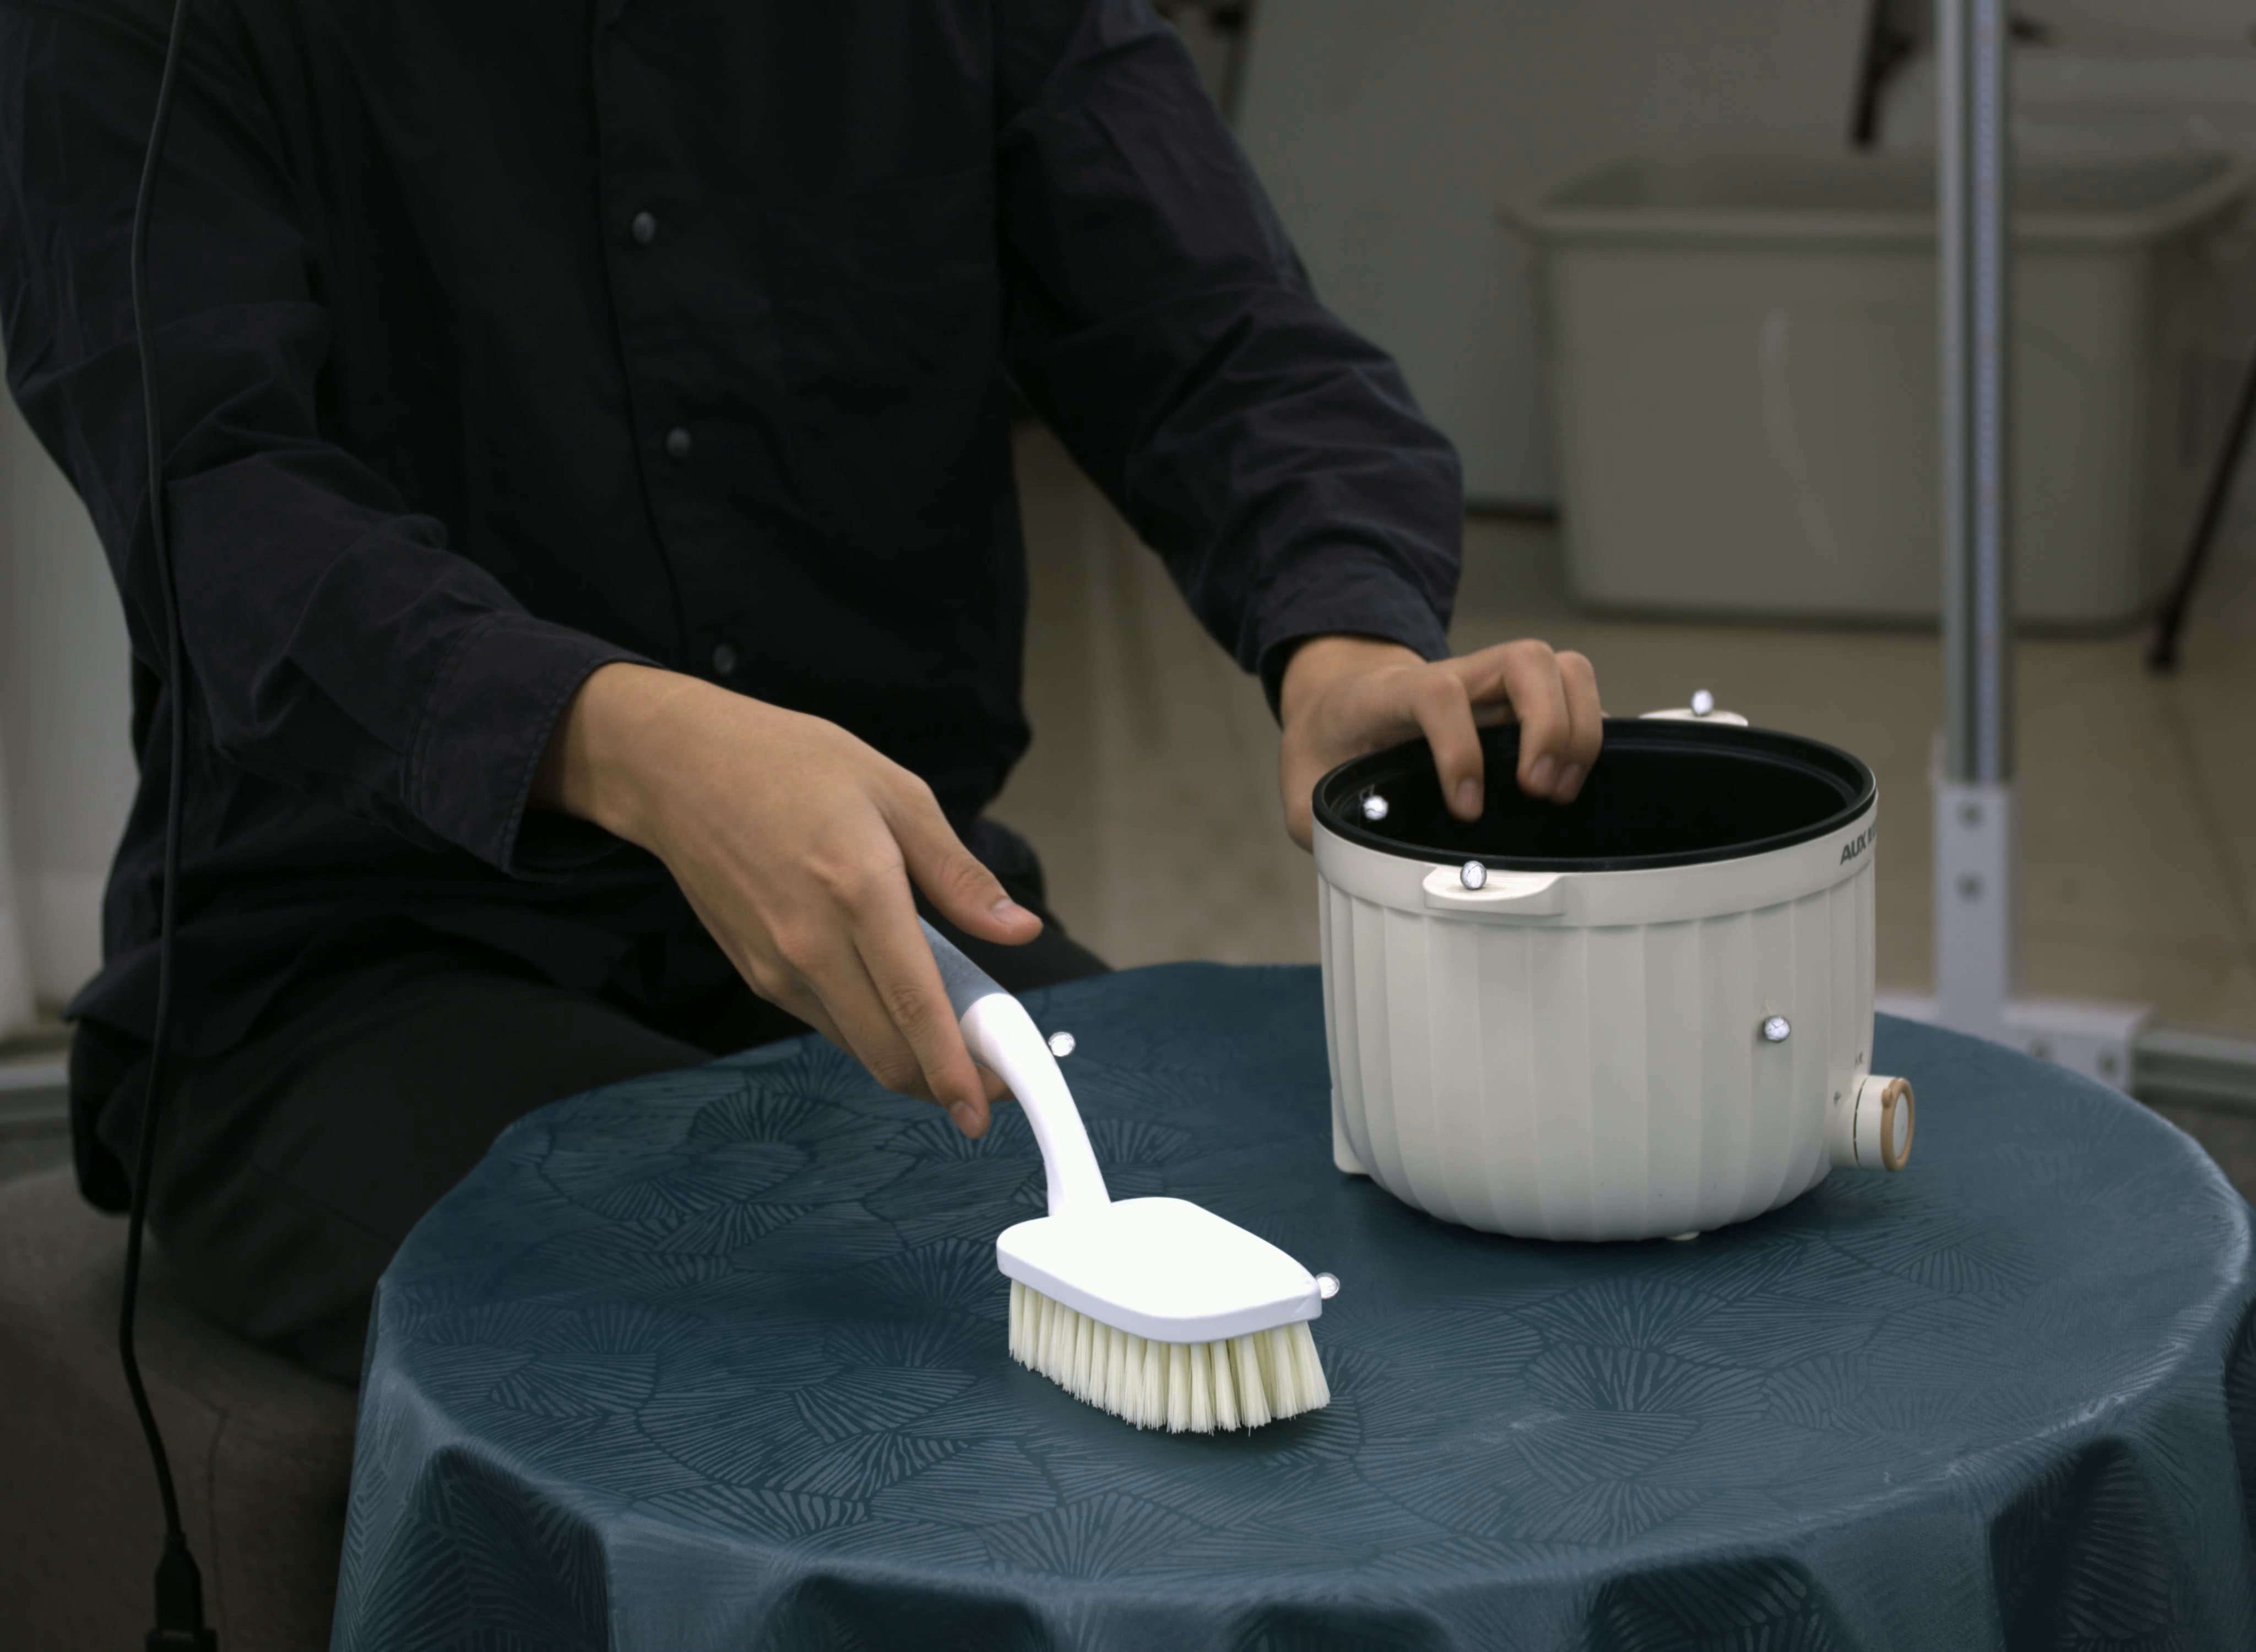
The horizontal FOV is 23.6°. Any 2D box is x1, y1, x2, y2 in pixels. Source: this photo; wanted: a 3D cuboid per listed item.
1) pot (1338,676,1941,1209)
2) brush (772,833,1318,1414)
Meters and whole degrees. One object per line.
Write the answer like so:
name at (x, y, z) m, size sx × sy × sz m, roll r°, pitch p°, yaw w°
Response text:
pot at (0.166, 0.040, 1.738) m, size 0.190 × 0.144 × 0.238 m, roll 0°, pitch 15°, yaw 24°
brush at (-0.030, 0.104, 1.670) m, size 0.081 × 0.085 × 0.329 m, roll 31°, pitch 5°, yaw -37°
